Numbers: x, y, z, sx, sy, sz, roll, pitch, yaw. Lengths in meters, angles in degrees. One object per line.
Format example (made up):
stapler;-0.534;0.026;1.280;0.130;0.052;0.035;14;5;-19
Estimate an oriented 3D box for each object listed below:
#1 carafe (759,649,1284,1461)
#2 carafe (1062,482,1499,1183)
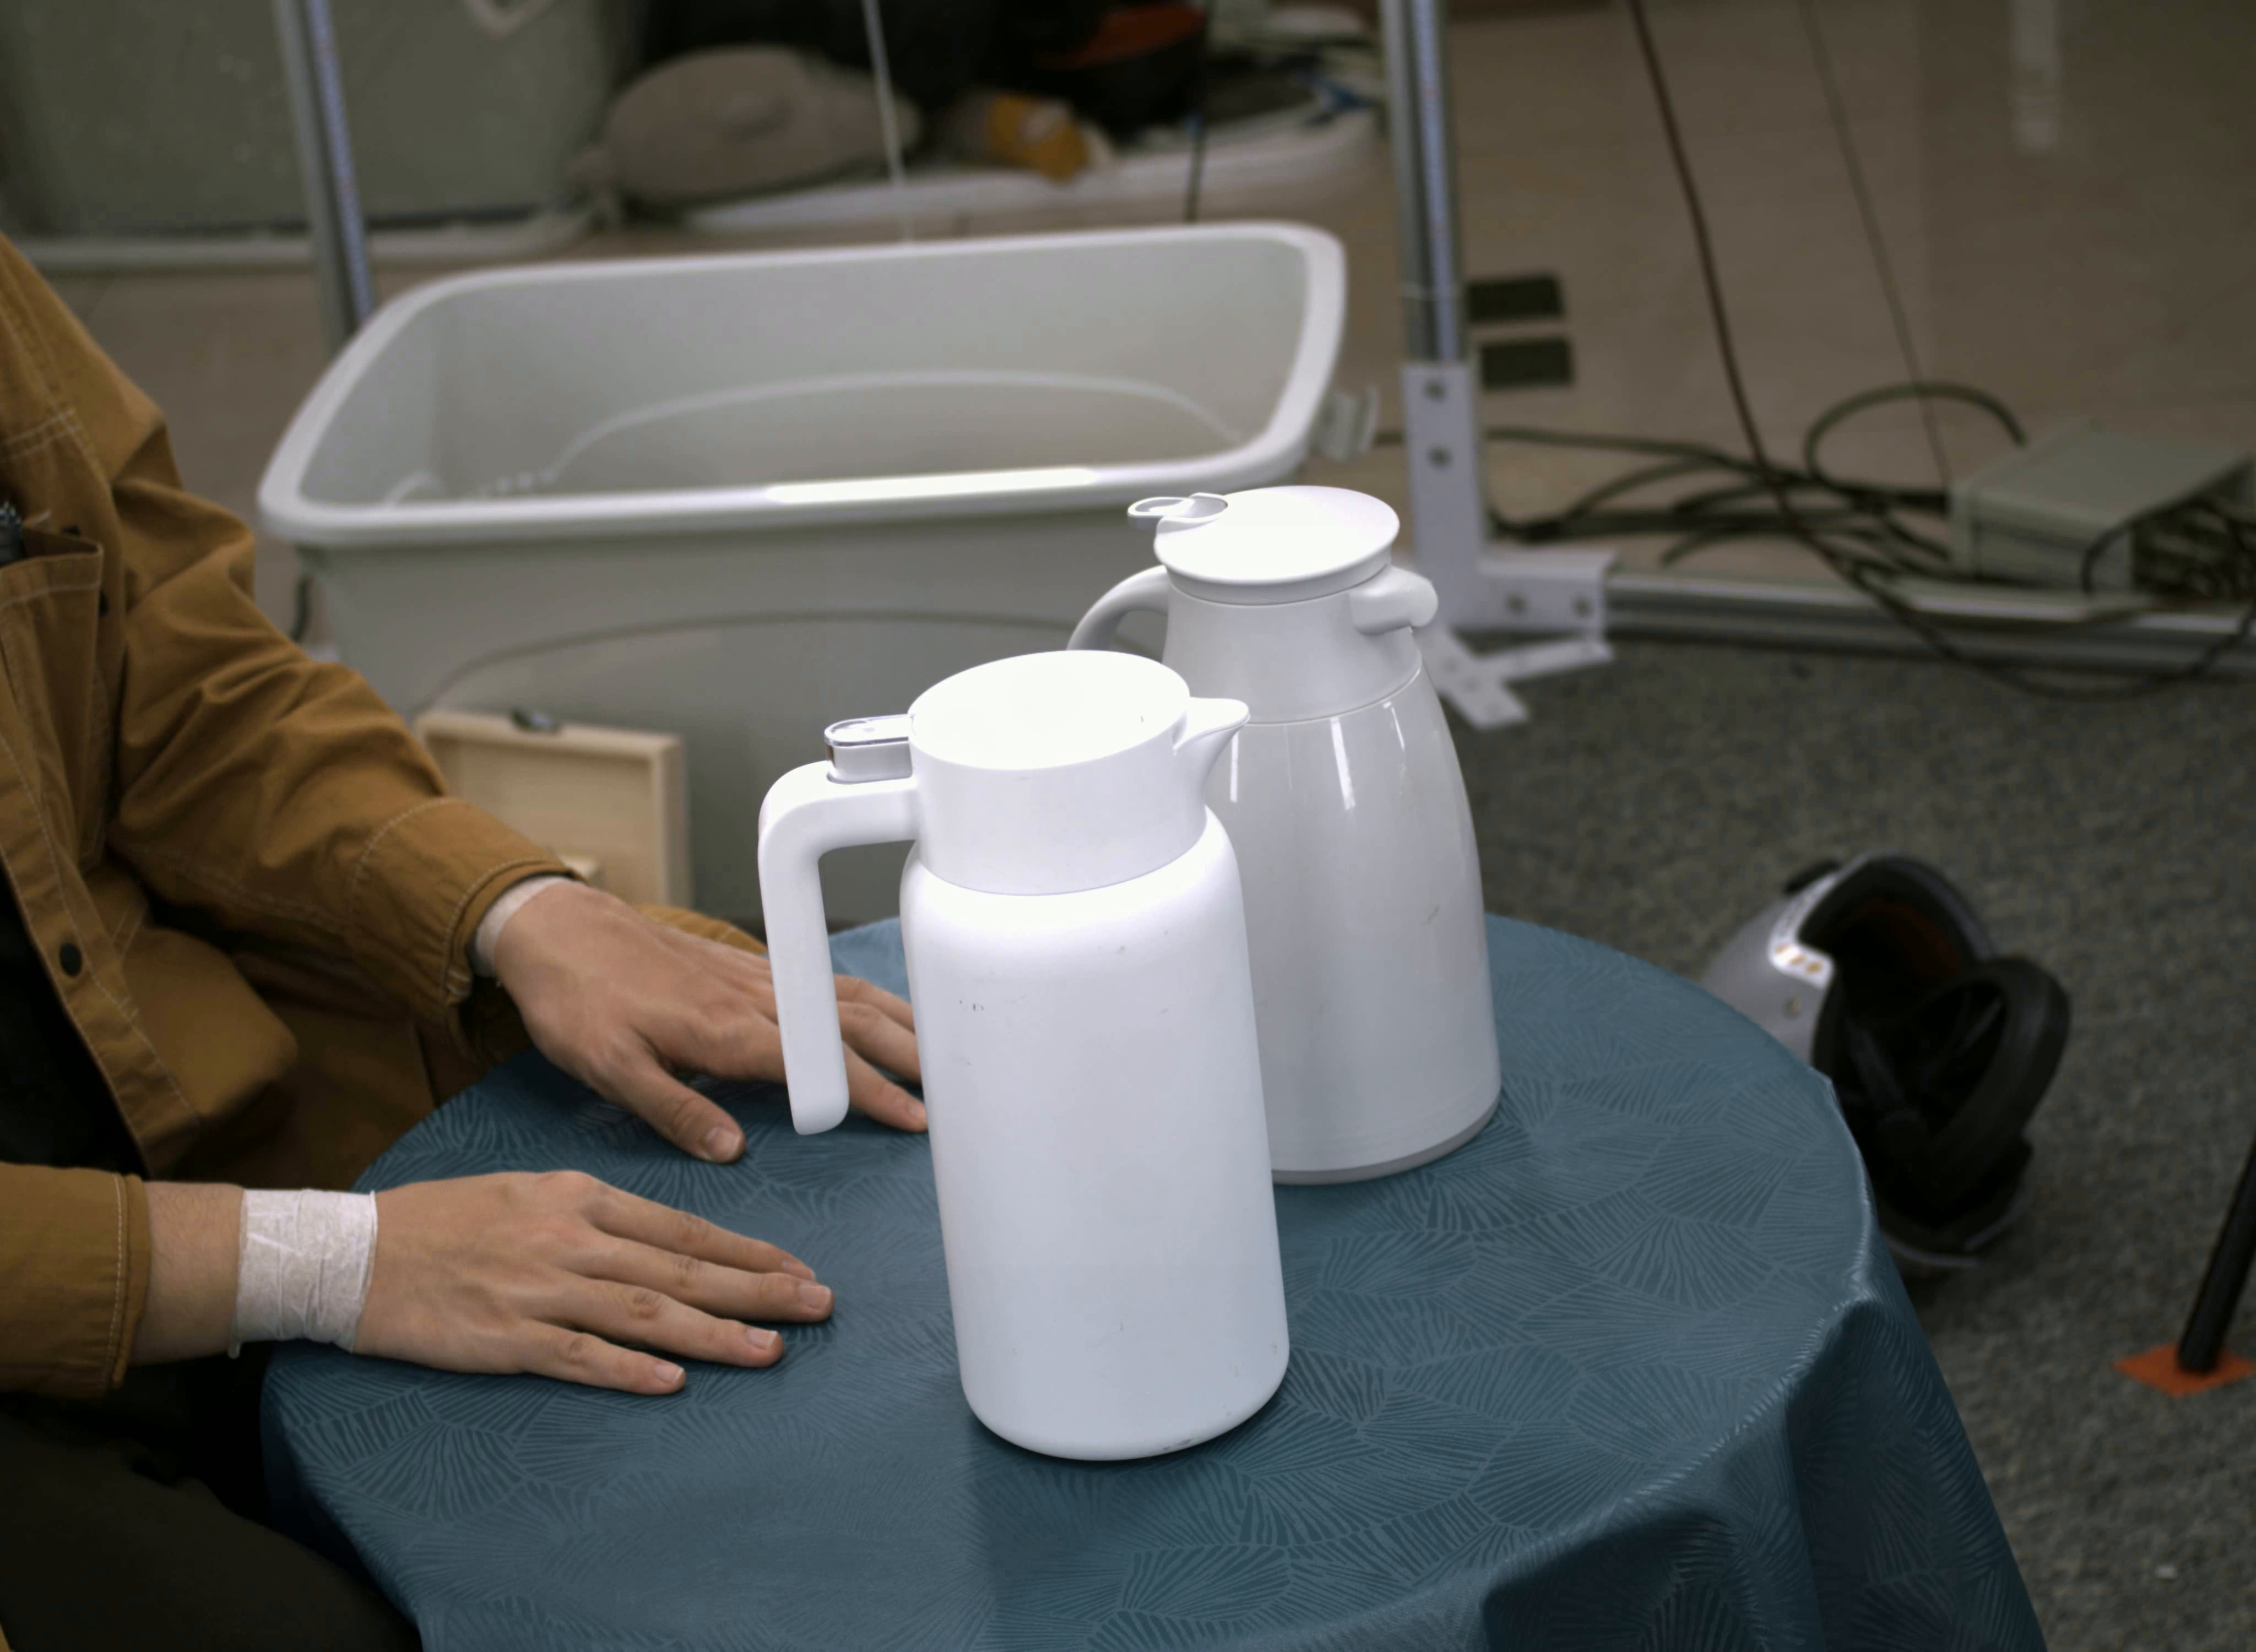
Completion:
carafe;-0.032;0.082;1.959;0.172;0.273;0.122;-7;28;-1
carafe;0.050;-0.007;2.150;0.167;0.252;0.131;10;30;32
